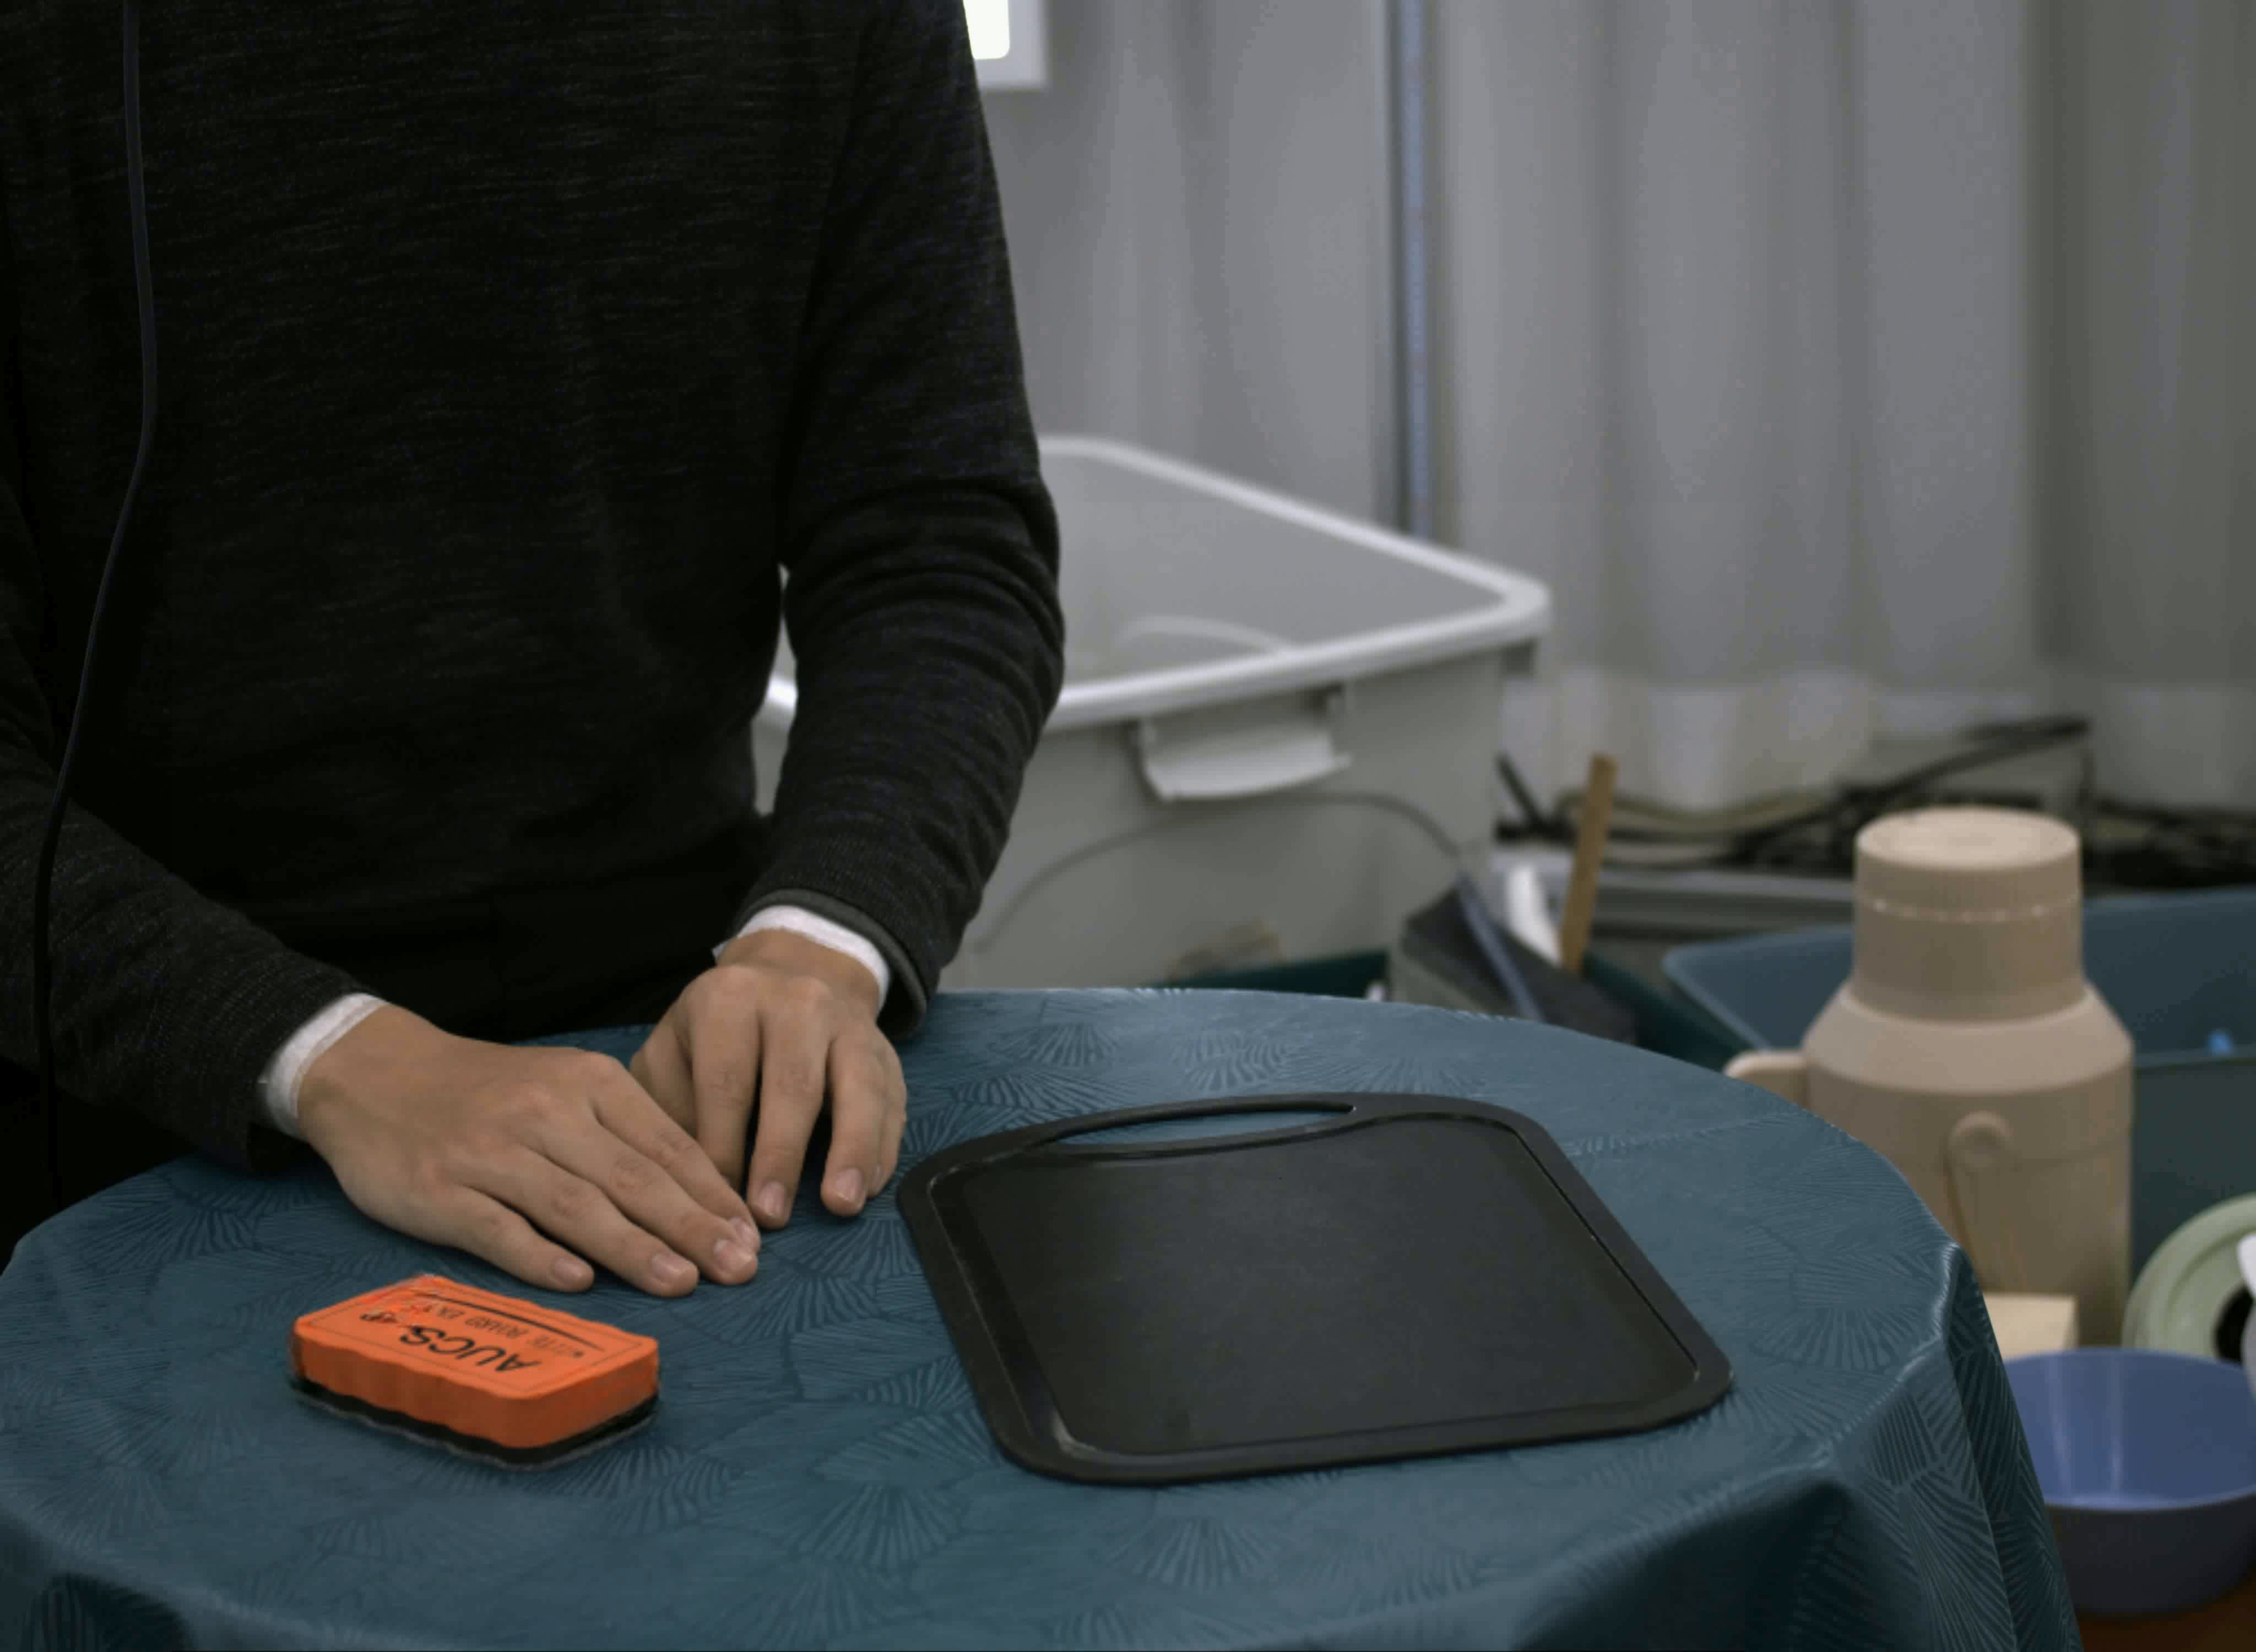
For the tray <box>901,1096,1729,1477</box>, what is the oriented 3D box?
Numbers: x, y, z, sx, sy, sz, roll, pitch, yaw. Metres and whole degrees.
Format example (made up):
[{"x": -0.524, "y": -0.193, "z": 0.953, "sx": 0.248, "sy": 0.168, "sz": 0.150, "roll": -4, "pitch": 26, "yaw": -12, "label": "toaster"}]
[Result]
[{"x": 0.046, "y": 0.130, "z": 1.634, "sx": 0.210, "sy": 0.010, "sz": 0.328, "roll": -5, "pitch": 15, "yaw": -8, "label": "tray"}]

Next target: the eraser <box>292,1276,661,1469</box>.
[{"x": -0.185, "y": 0.155, "z": 1.553, "sx": 0.108, "sy": 0.023, "sz": 0.059, "roll": 11, "pitch": 18, "yaw": 43, "label": "eraser"}]
